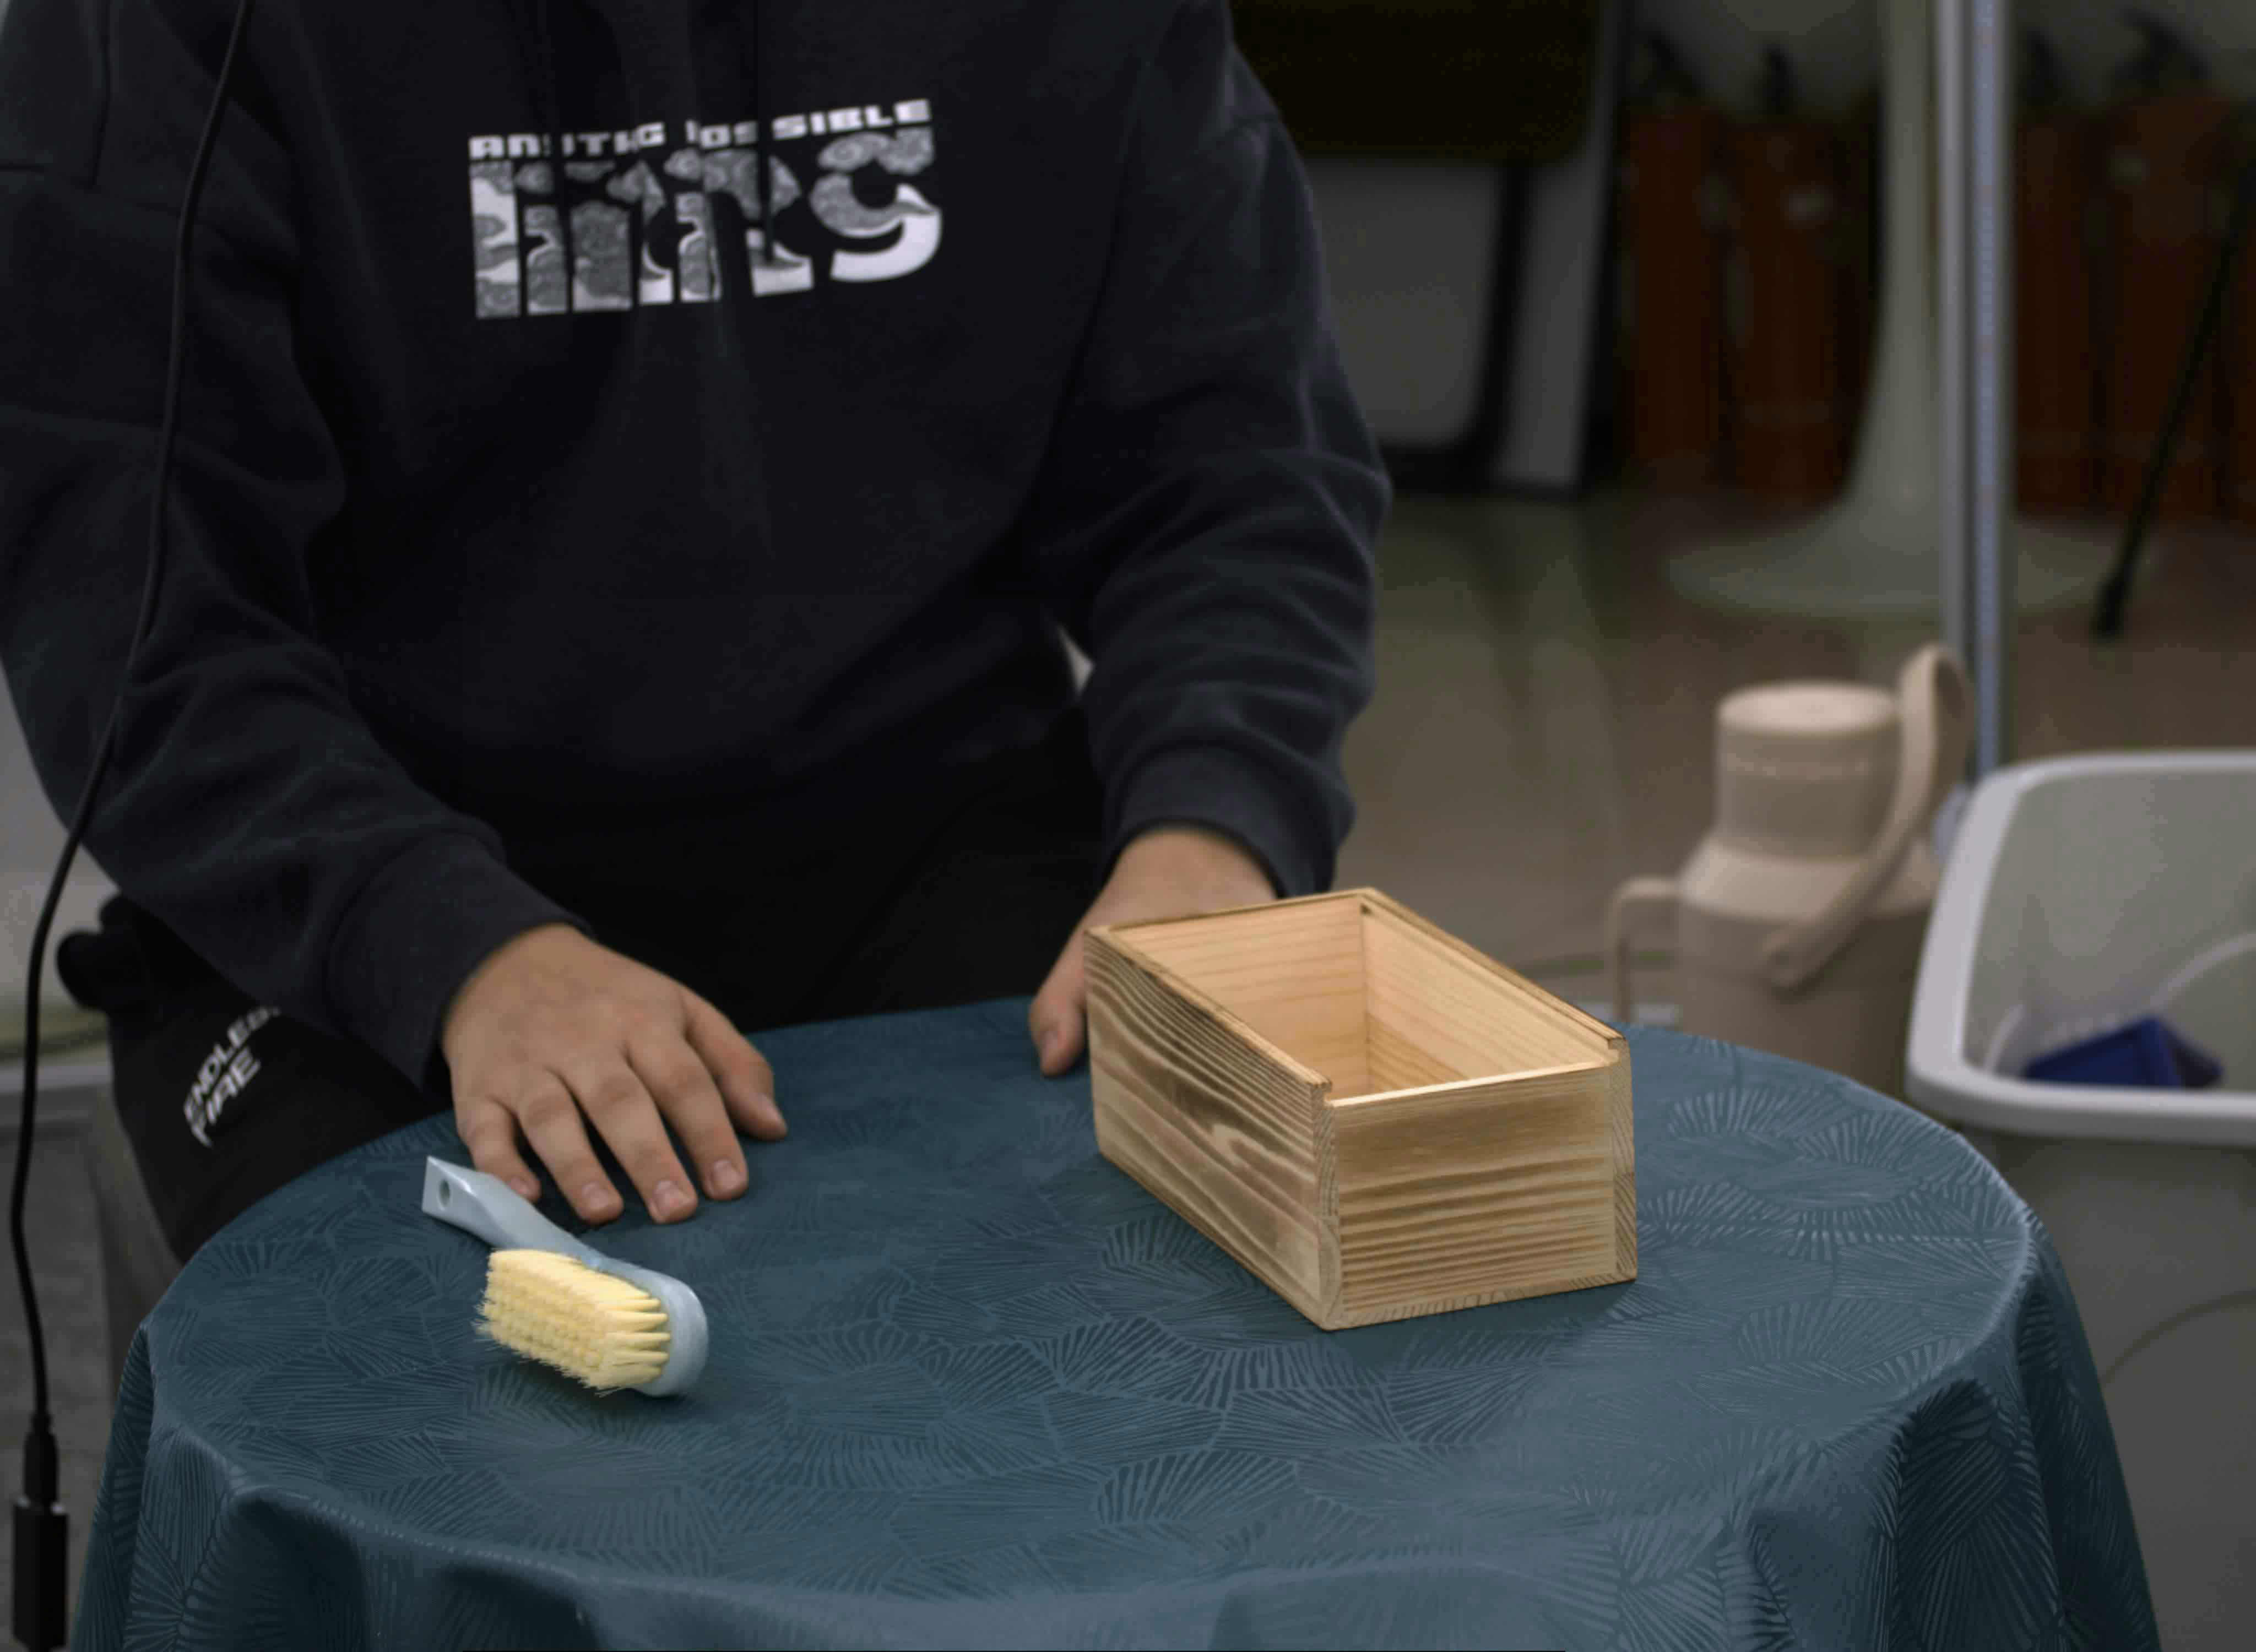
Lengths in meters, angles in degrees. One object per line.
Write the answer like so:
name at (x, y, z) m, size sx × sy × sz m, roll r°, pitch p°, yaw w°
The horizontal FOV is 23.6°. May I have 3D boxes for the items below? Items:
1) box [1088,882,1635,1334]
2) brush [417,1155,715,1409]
box at (0.071, 0.086, 1.727) m, size 0.105 × 0.081 × 0.213 m, roll -8°, pitch 15°, yaw -18°
brush at (-0.189, 0.137, 1.687) m, size 0.048 × 0.038 × 0.231 m, roll -1°, pitch 11°, yaw -24°
